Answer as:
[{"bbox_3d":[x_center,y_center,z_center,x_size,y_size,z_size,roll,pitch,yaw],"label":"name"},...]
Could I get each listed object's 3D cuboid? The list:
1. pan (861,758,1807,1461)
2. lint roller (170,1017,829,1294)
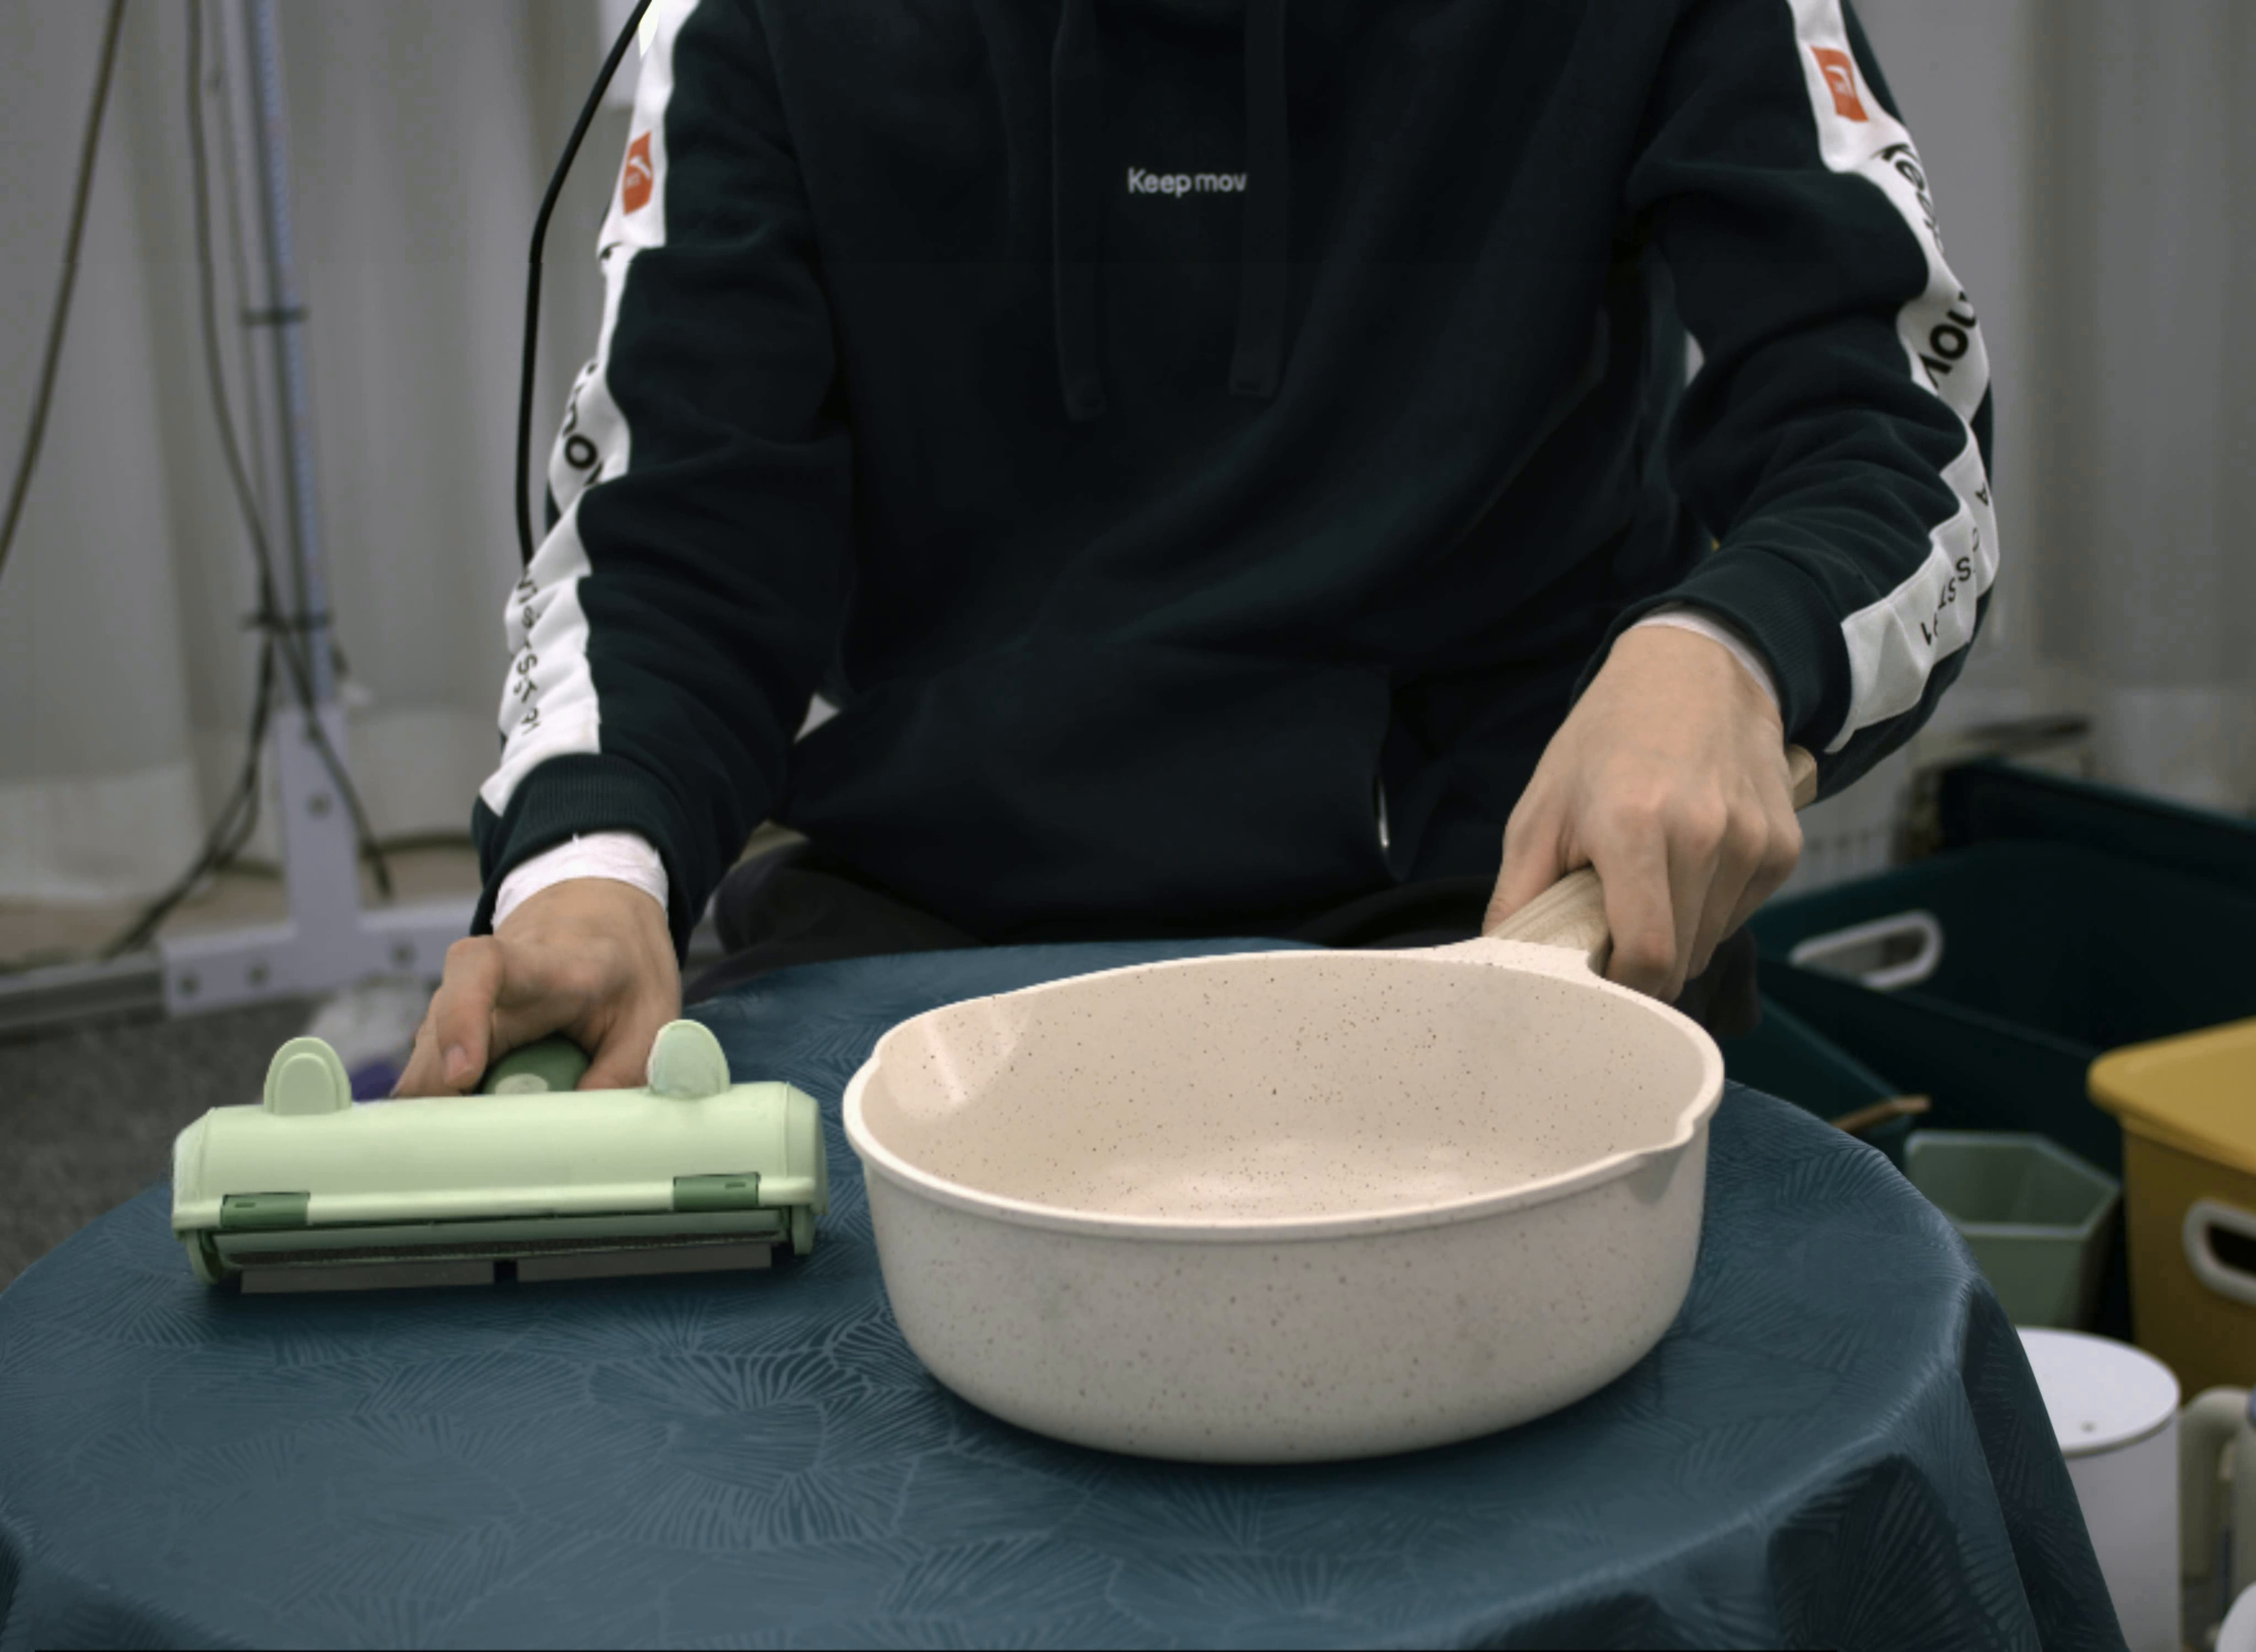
[{"bbox_3d":[0.101,0.080,1.632,0.264,0.101,0.435,5,17,33],"label":"pan"},{"bbox_3d":[-0.191,0.081,1.716,0.198,0.081,0.185,-3,24,1],"label":"lint roller"}]
